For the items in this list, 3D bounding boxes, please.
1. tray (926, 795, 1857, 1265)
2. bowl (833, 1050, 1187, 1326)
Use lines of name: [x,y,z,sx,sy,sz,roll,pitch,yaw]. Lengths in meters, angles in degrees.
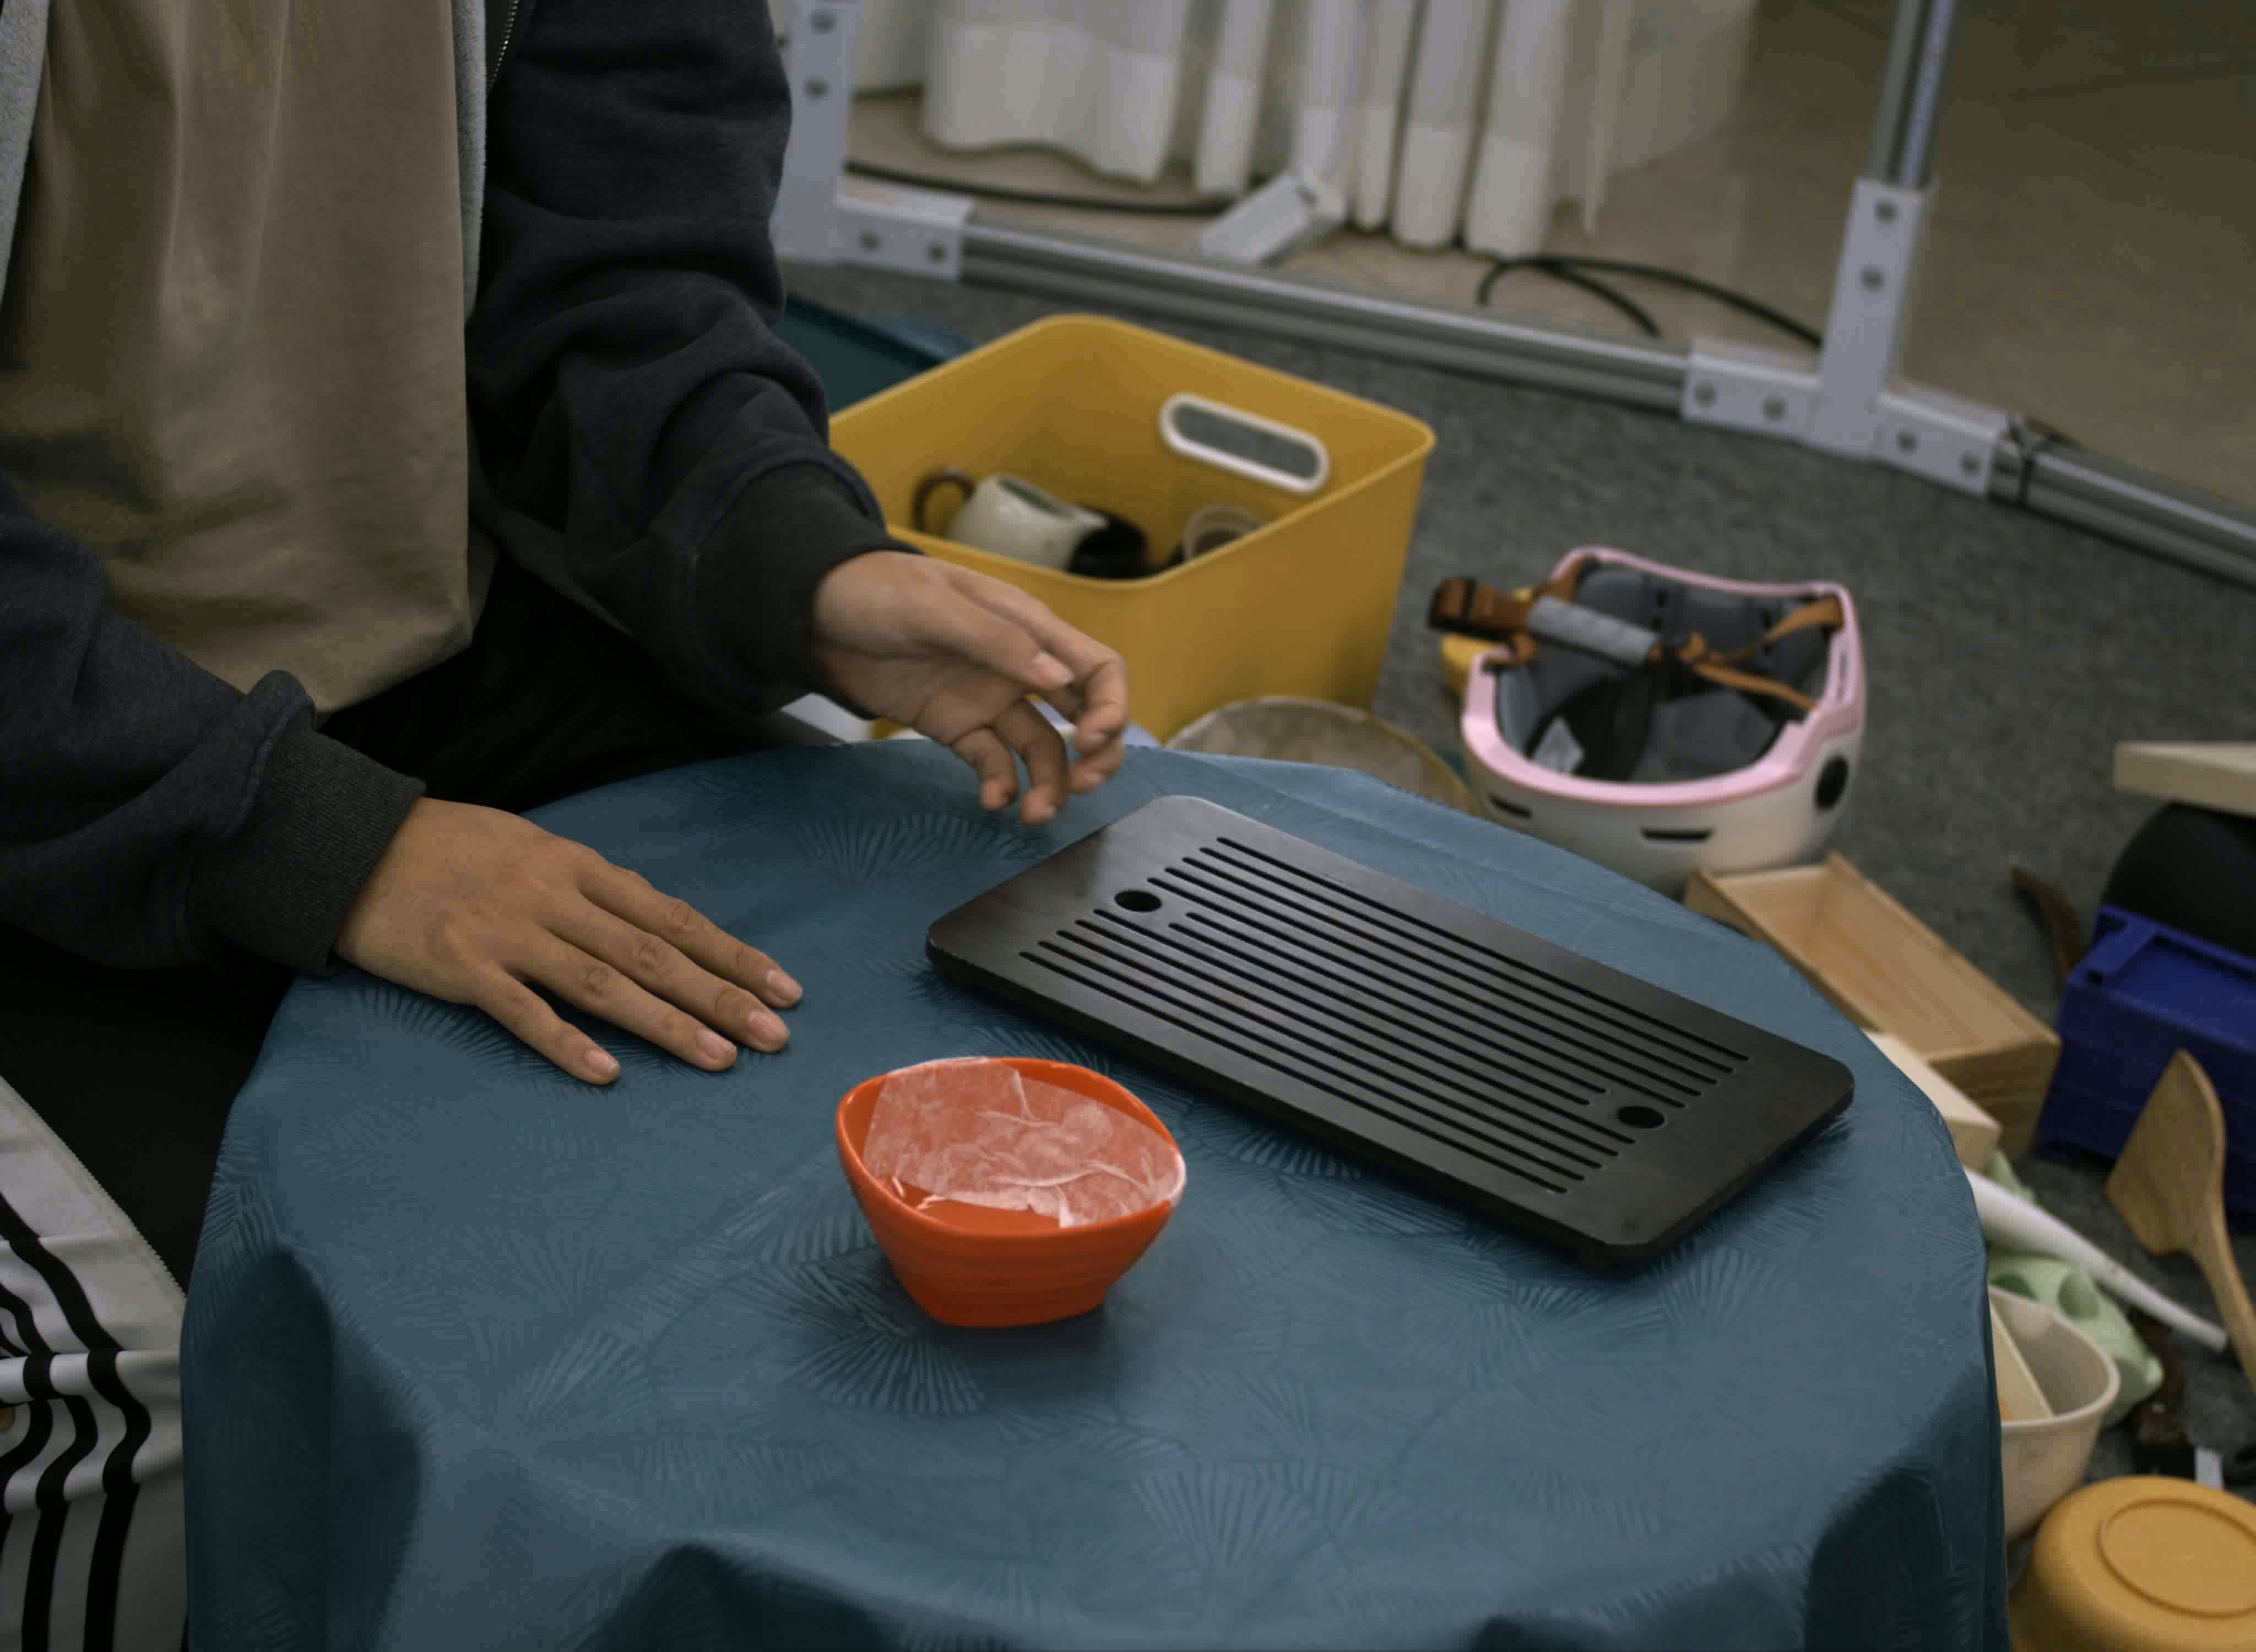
tray: [0.093,0.070,1.908,0.308,0.018,0.169,22,31,29]
bowl: [-0.041,0.123,1.735,0.118,0.051,0.119,5,28,-3]
